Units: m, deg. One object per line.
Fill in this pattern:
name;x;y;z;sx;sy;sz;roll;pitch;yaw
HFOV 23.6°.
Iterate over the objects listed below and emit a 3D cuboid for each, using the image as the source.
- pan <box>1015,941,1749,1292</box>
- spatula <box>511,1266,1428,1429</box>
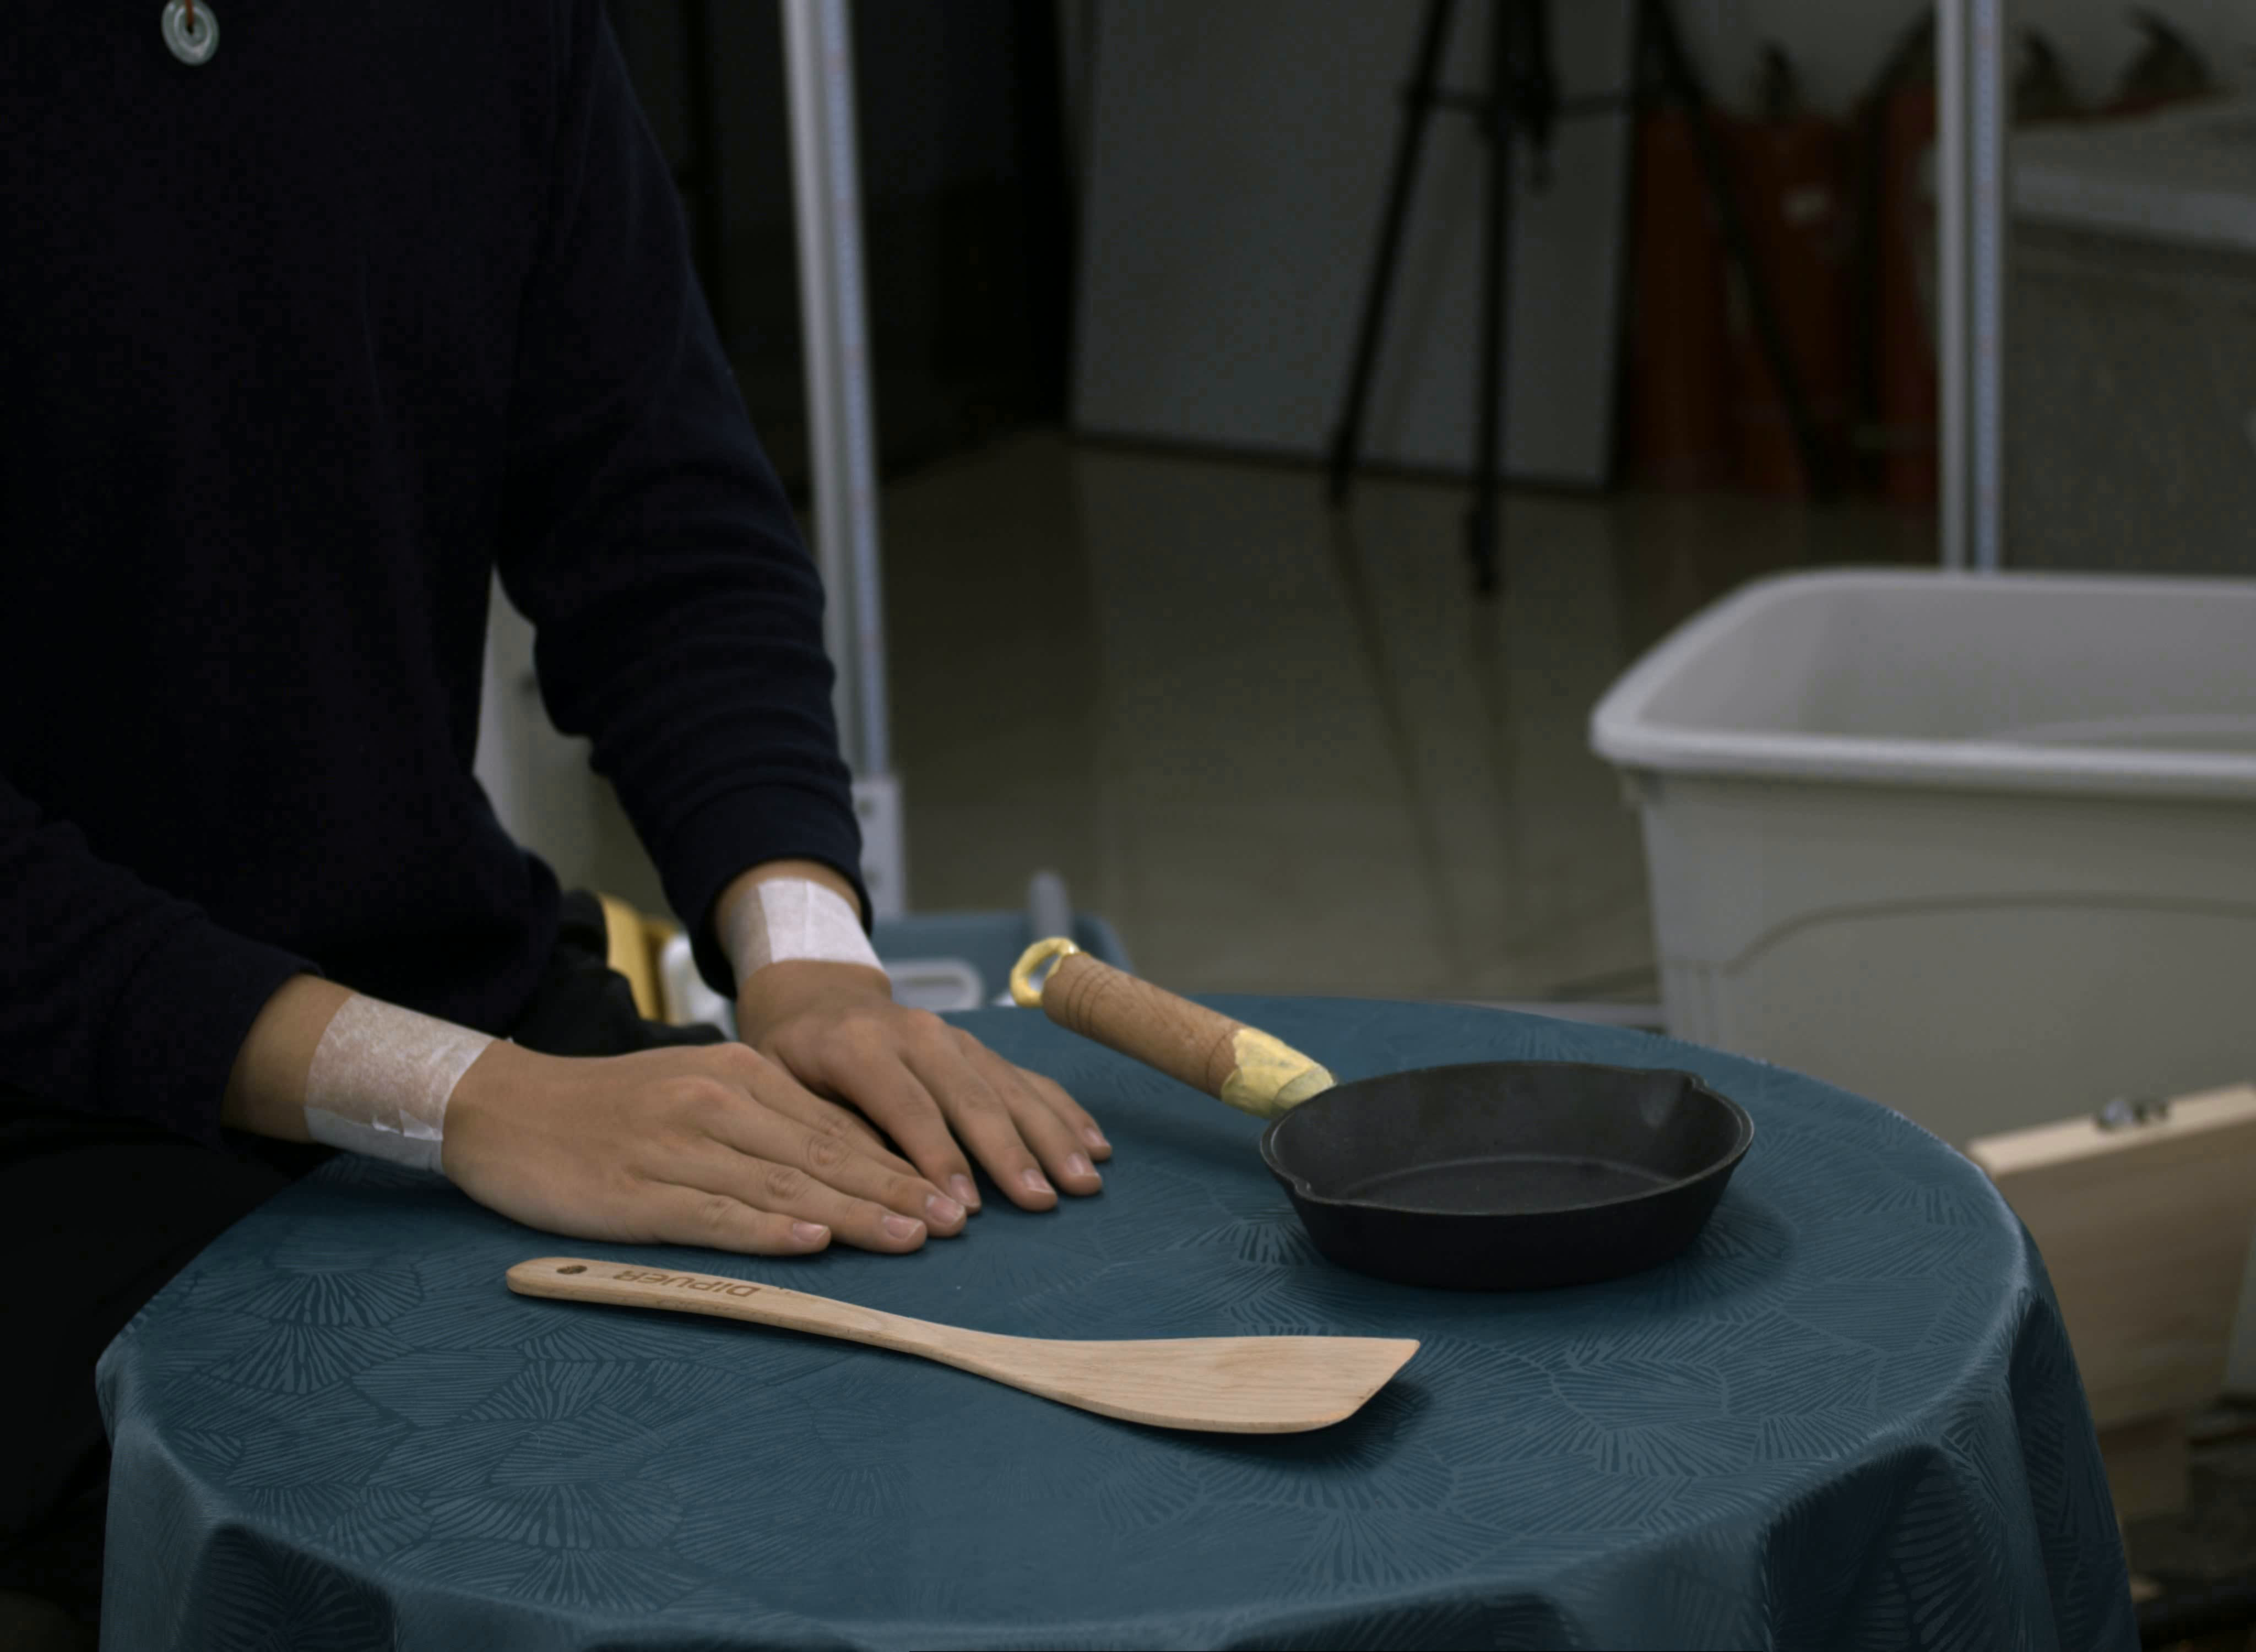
pan;0.068;0.091;1.768;0.165;0.050;0.327;-14;18;-35
spatula;-0.055;0.152;1.628;0.329;0.017;0.078;5;15;33
